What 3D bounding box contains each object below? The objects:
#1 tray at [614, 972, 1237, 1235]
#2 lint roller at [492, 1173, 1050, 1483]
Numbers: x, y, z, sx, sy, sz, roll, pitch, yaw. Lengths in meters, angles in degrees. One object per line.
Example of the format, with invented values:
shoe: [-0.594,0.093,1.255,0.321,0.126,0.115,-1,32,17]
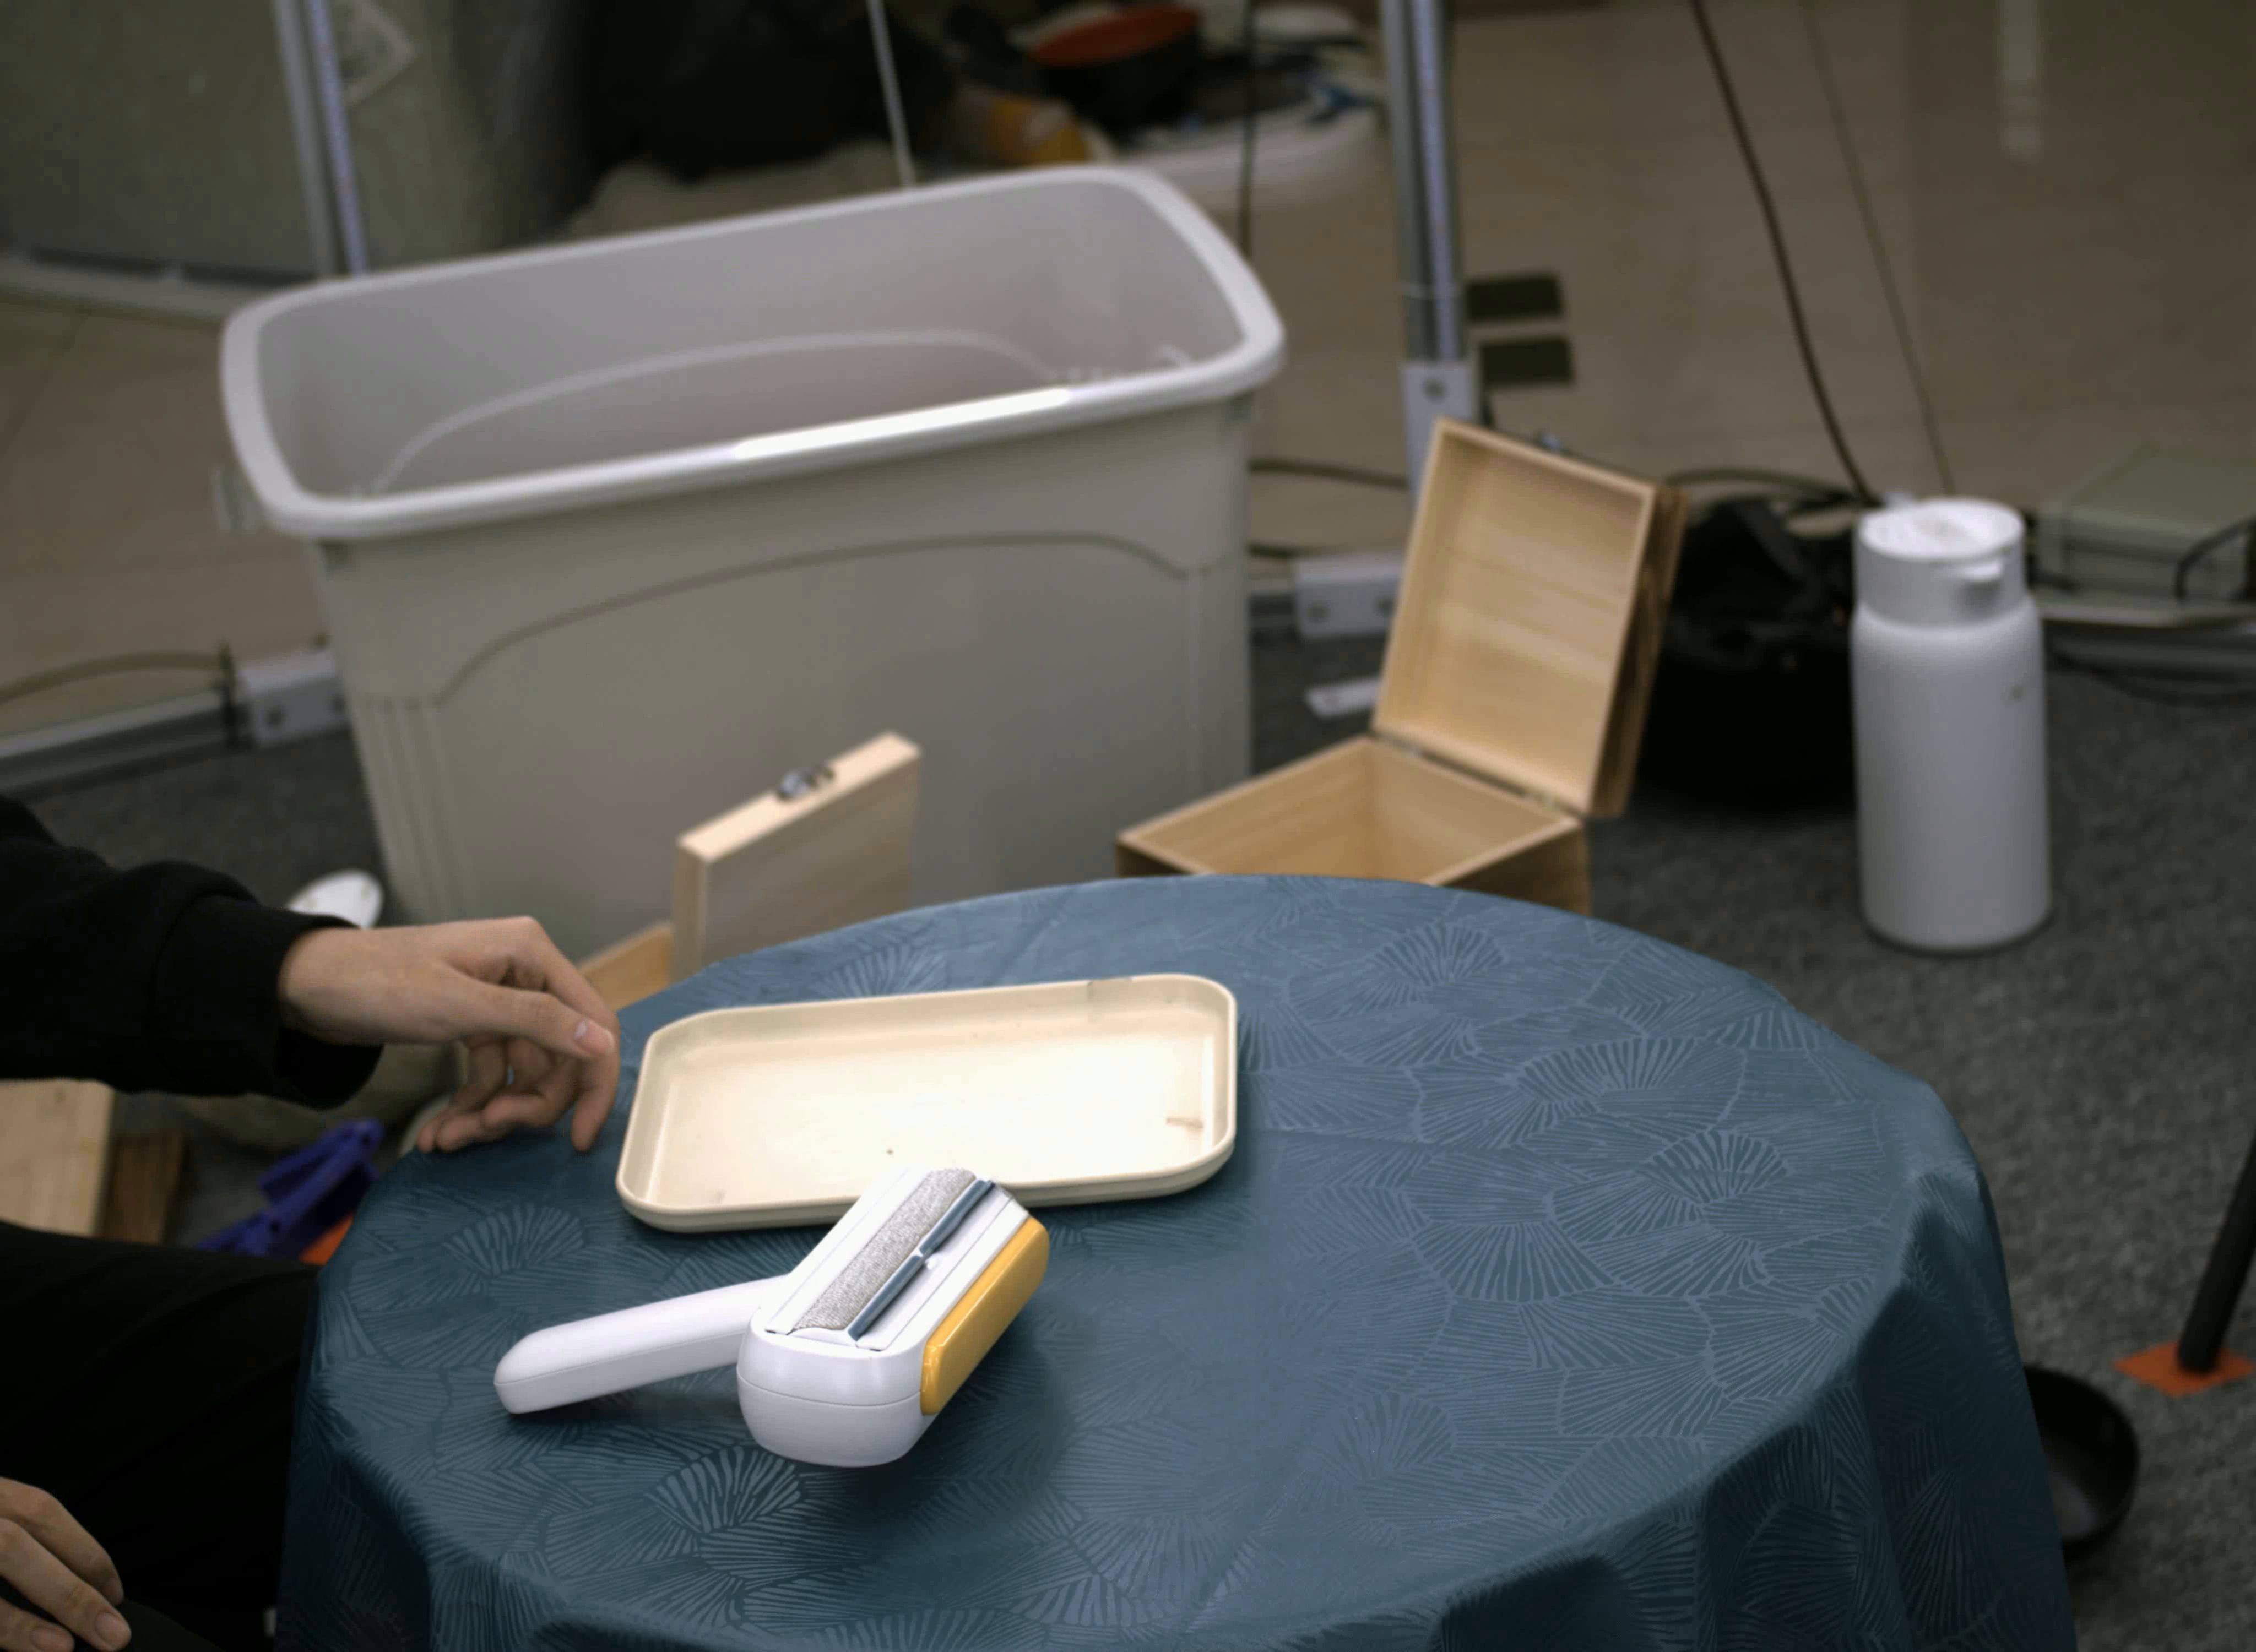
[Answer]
tray: [-0.076,0.109,2.206,0.239,0.018,0.169,-5,26,4]
lint roller: [-0.139,0.179,2.012,0.192,0.075,0.190,1,21,19]
